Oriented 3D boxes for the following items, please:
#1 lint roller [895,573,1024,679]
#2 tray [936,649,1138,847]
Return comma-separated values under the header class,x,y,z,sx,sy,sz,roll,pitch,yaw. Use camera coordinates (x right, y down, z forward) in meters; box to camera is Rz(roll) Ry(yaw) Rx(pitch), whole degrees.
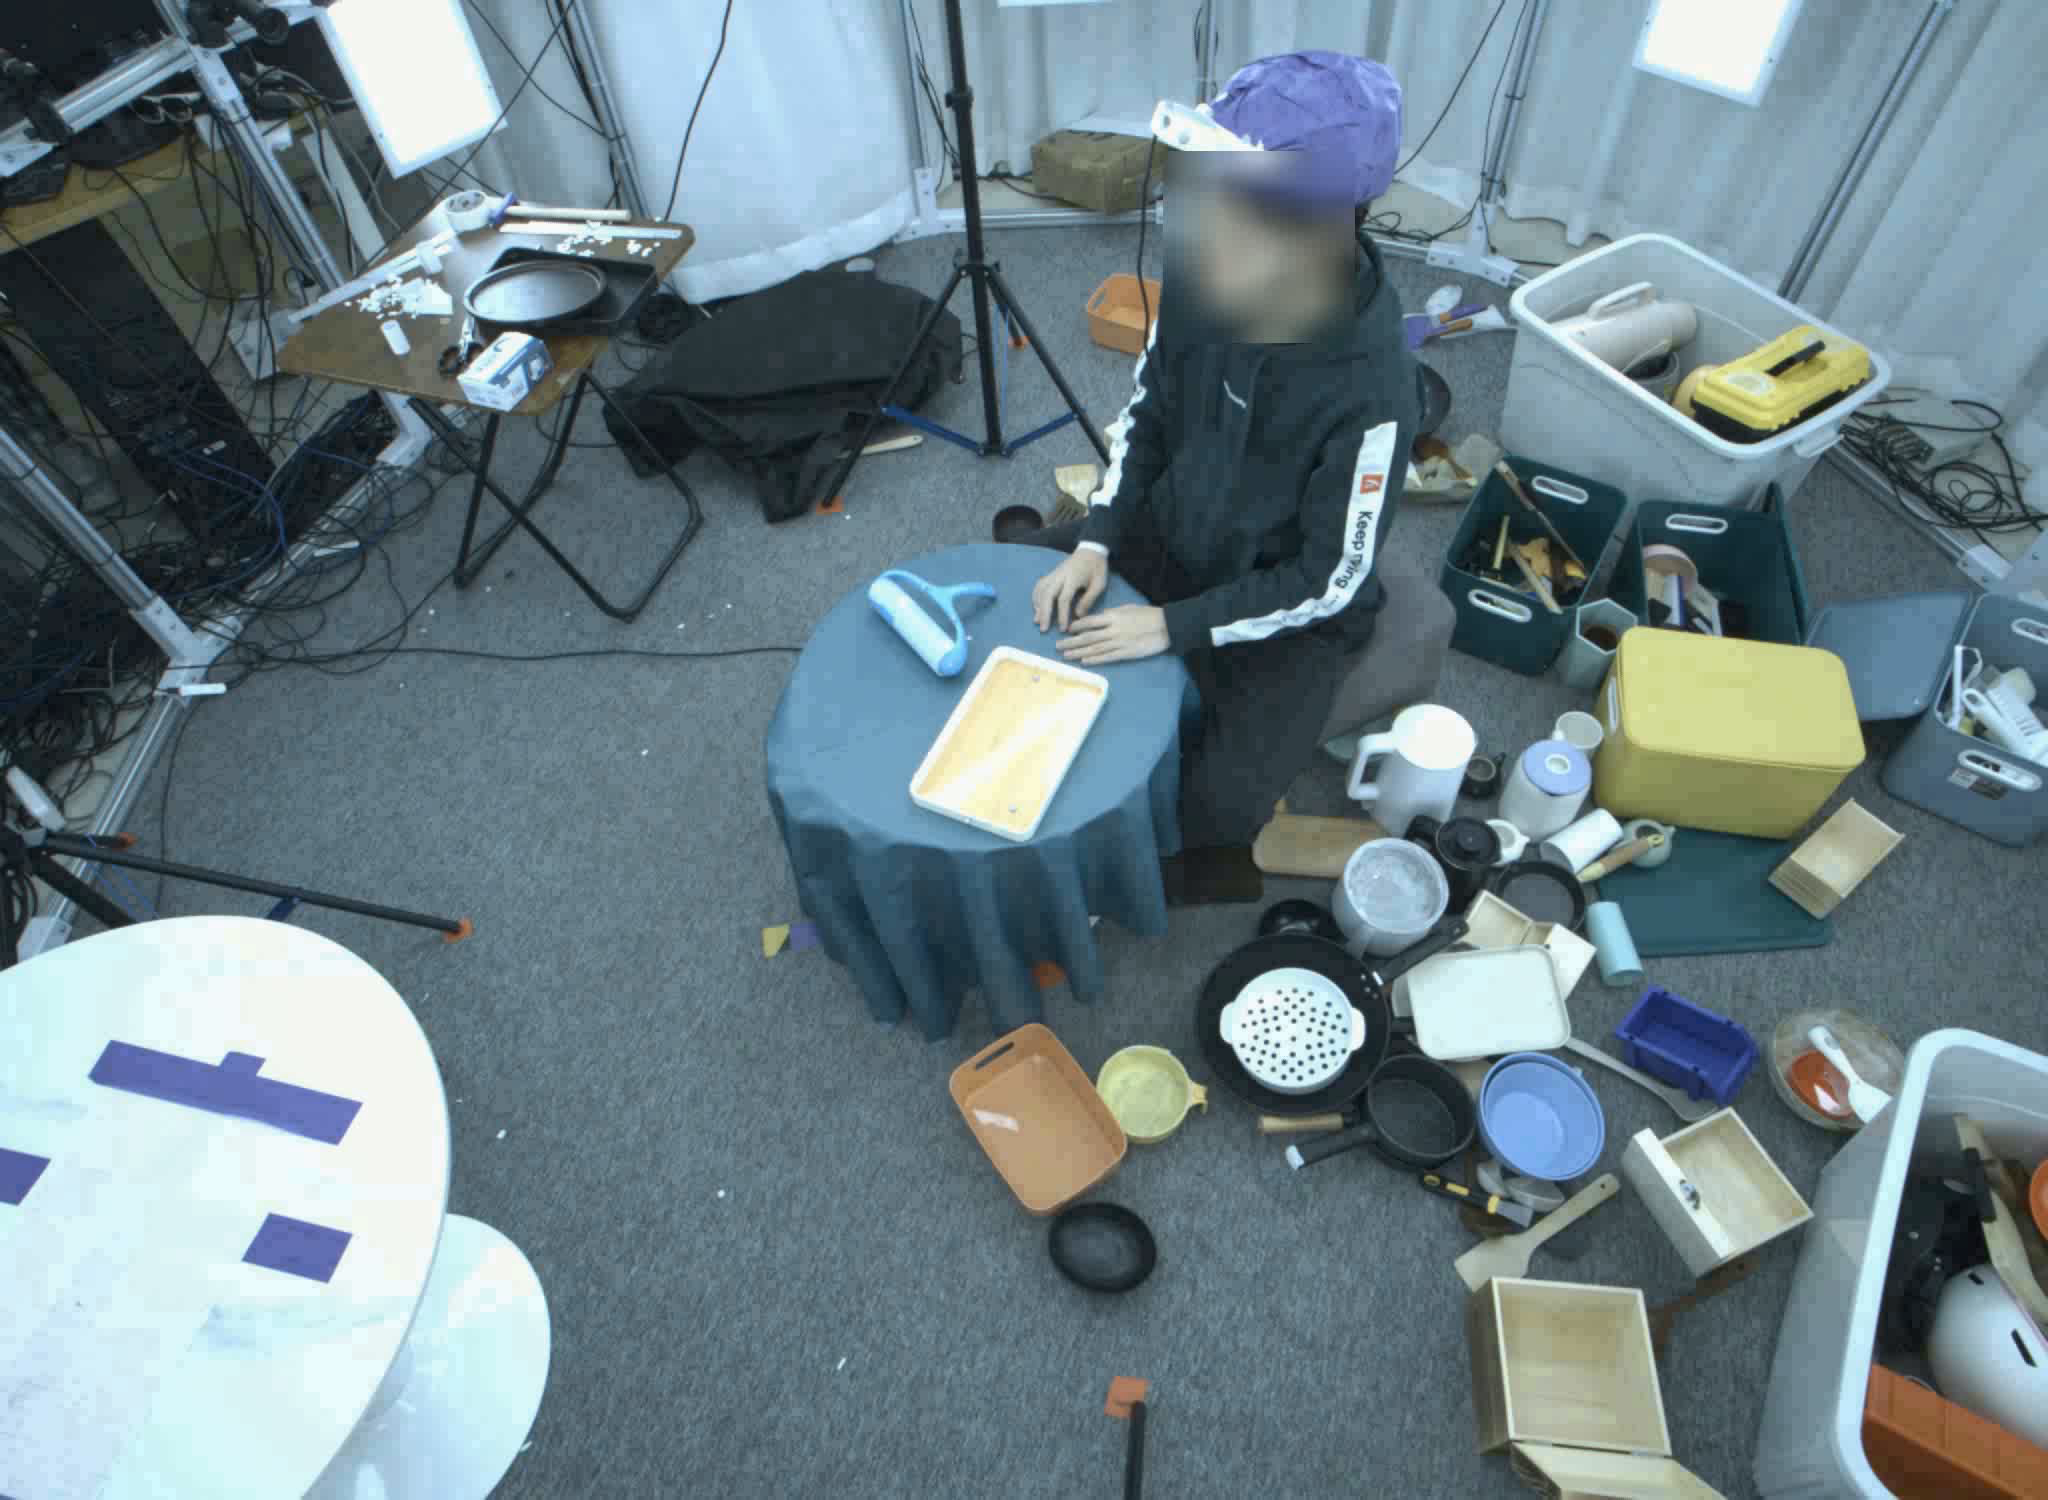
class,x,y,z,sx,sy,sz,roll,pitch,yaw
lint roller,-0.079,-0.220,1.908,0.181,0.069,0.224,-35,59,-20
tray,0.023,-0.009,1.773,0.189,0.028,0.301,22,58,16
